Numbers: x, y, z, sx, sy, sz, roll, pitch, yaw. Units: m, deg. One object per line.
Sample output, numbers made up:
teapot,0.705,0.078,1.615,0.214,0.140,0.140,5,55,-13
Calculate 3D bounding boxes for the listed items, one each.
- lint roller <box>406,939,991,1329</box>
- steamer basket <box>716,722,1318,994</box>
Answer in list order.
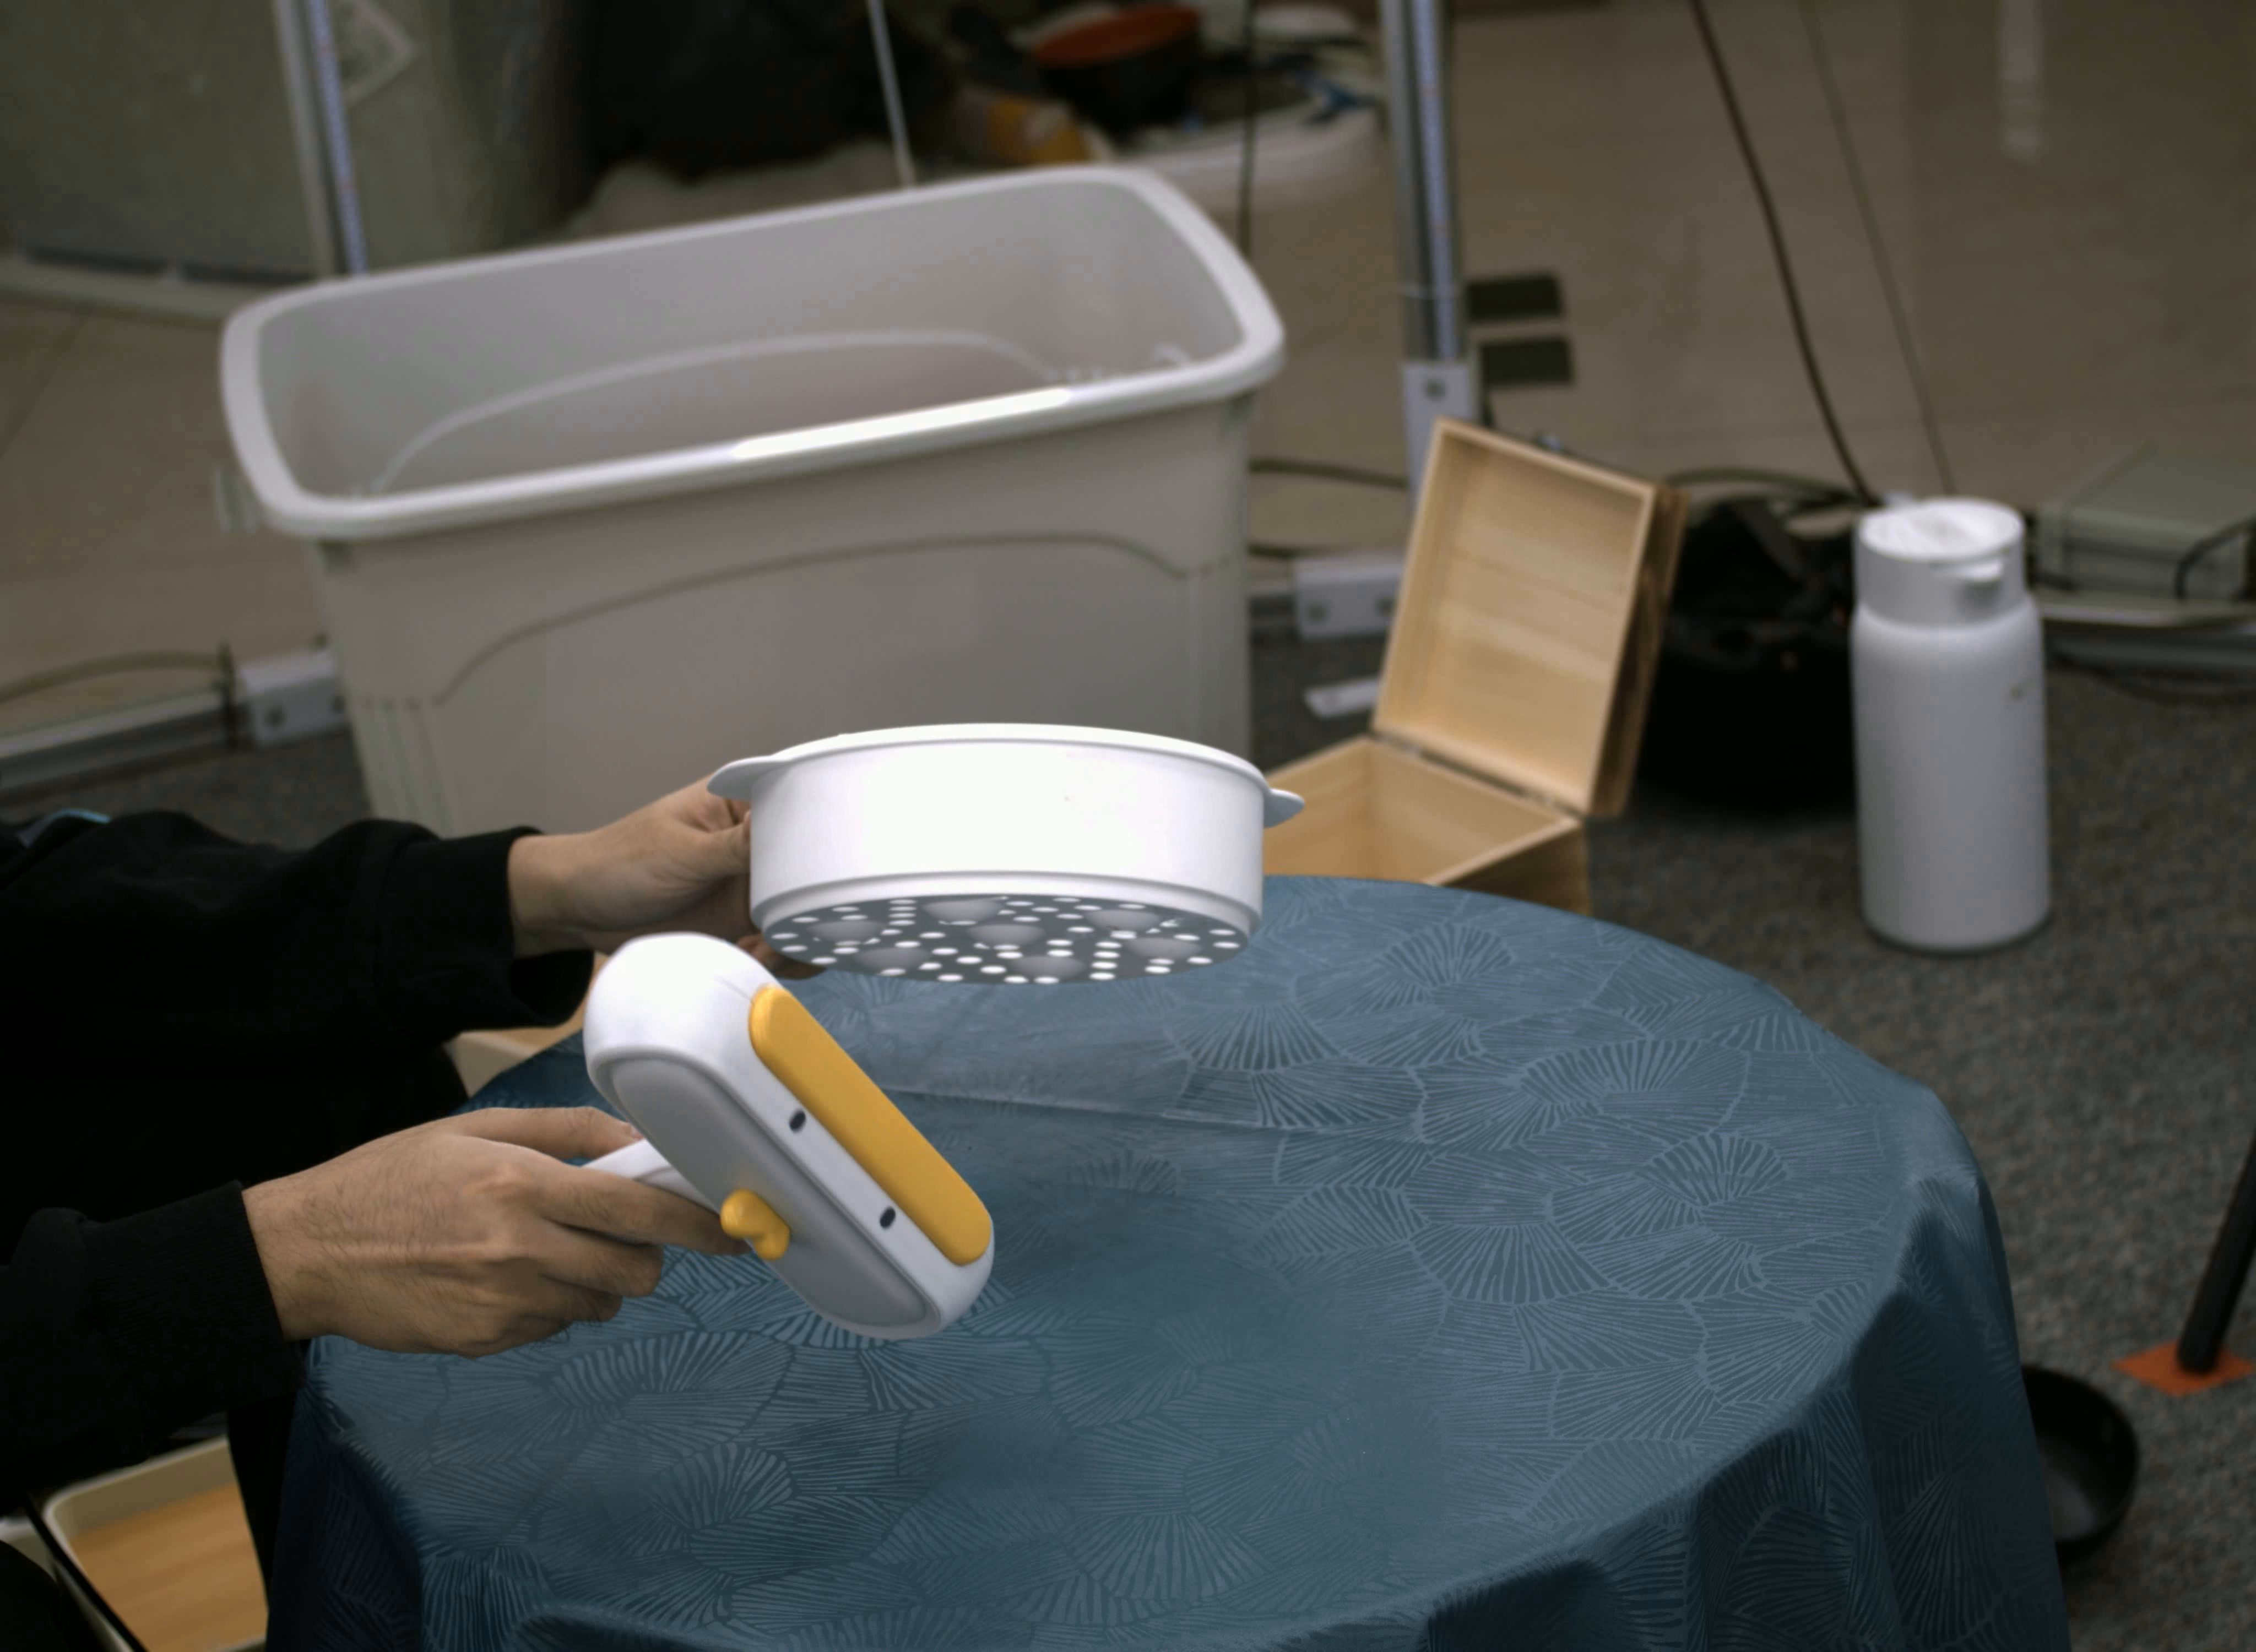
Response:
lint roller,-0.167,0.125,1.953,0.193,0.195,0.073,-16,50,32
steamer basket,-0.040,0.017,2.141,0.230,0.069,0.203,1,-13,-16
